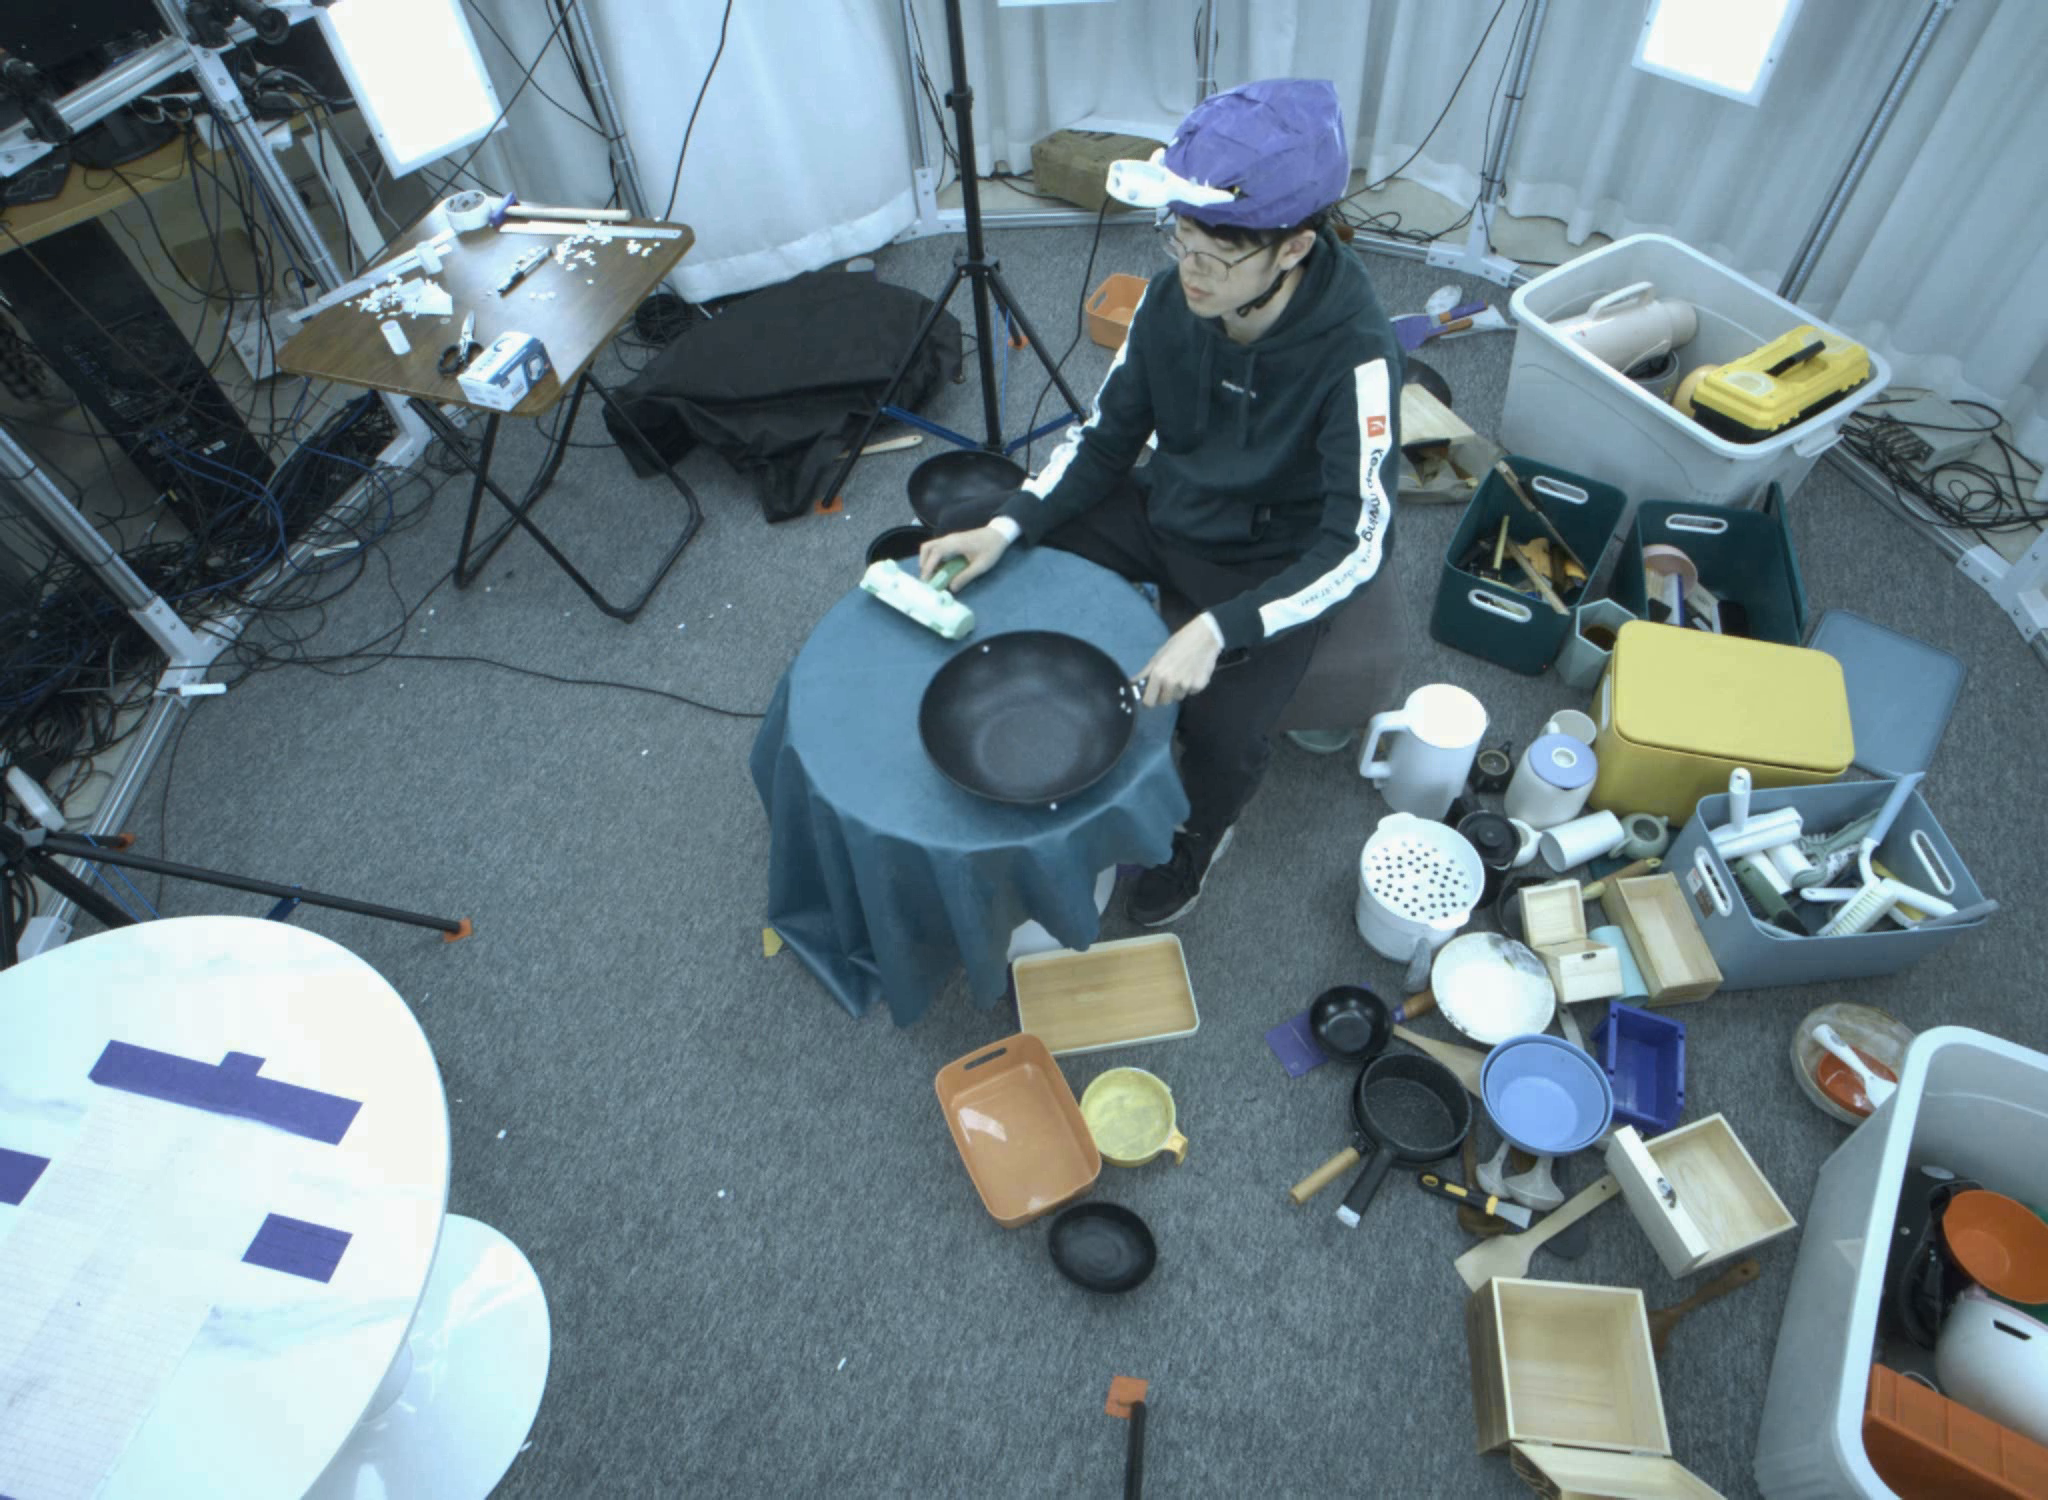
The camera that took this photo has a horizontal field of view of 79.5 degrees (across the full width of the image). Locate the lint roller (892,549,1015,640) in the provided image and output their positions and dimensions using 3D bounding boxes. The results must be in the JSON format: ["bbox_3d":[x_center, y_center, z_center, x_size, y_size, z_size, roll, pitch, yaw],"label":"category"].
[{"bbox_3d":[-0.083,-0.277,1.935,0.195,0.083,0.184,33,67,24],"label":"lint roller"}]

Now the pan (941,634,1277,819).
[{"bbox_3d":[0.122,-0.043,1.744,0.479,0.113,0.305,-11,56,-5],"label":"pan"}]
